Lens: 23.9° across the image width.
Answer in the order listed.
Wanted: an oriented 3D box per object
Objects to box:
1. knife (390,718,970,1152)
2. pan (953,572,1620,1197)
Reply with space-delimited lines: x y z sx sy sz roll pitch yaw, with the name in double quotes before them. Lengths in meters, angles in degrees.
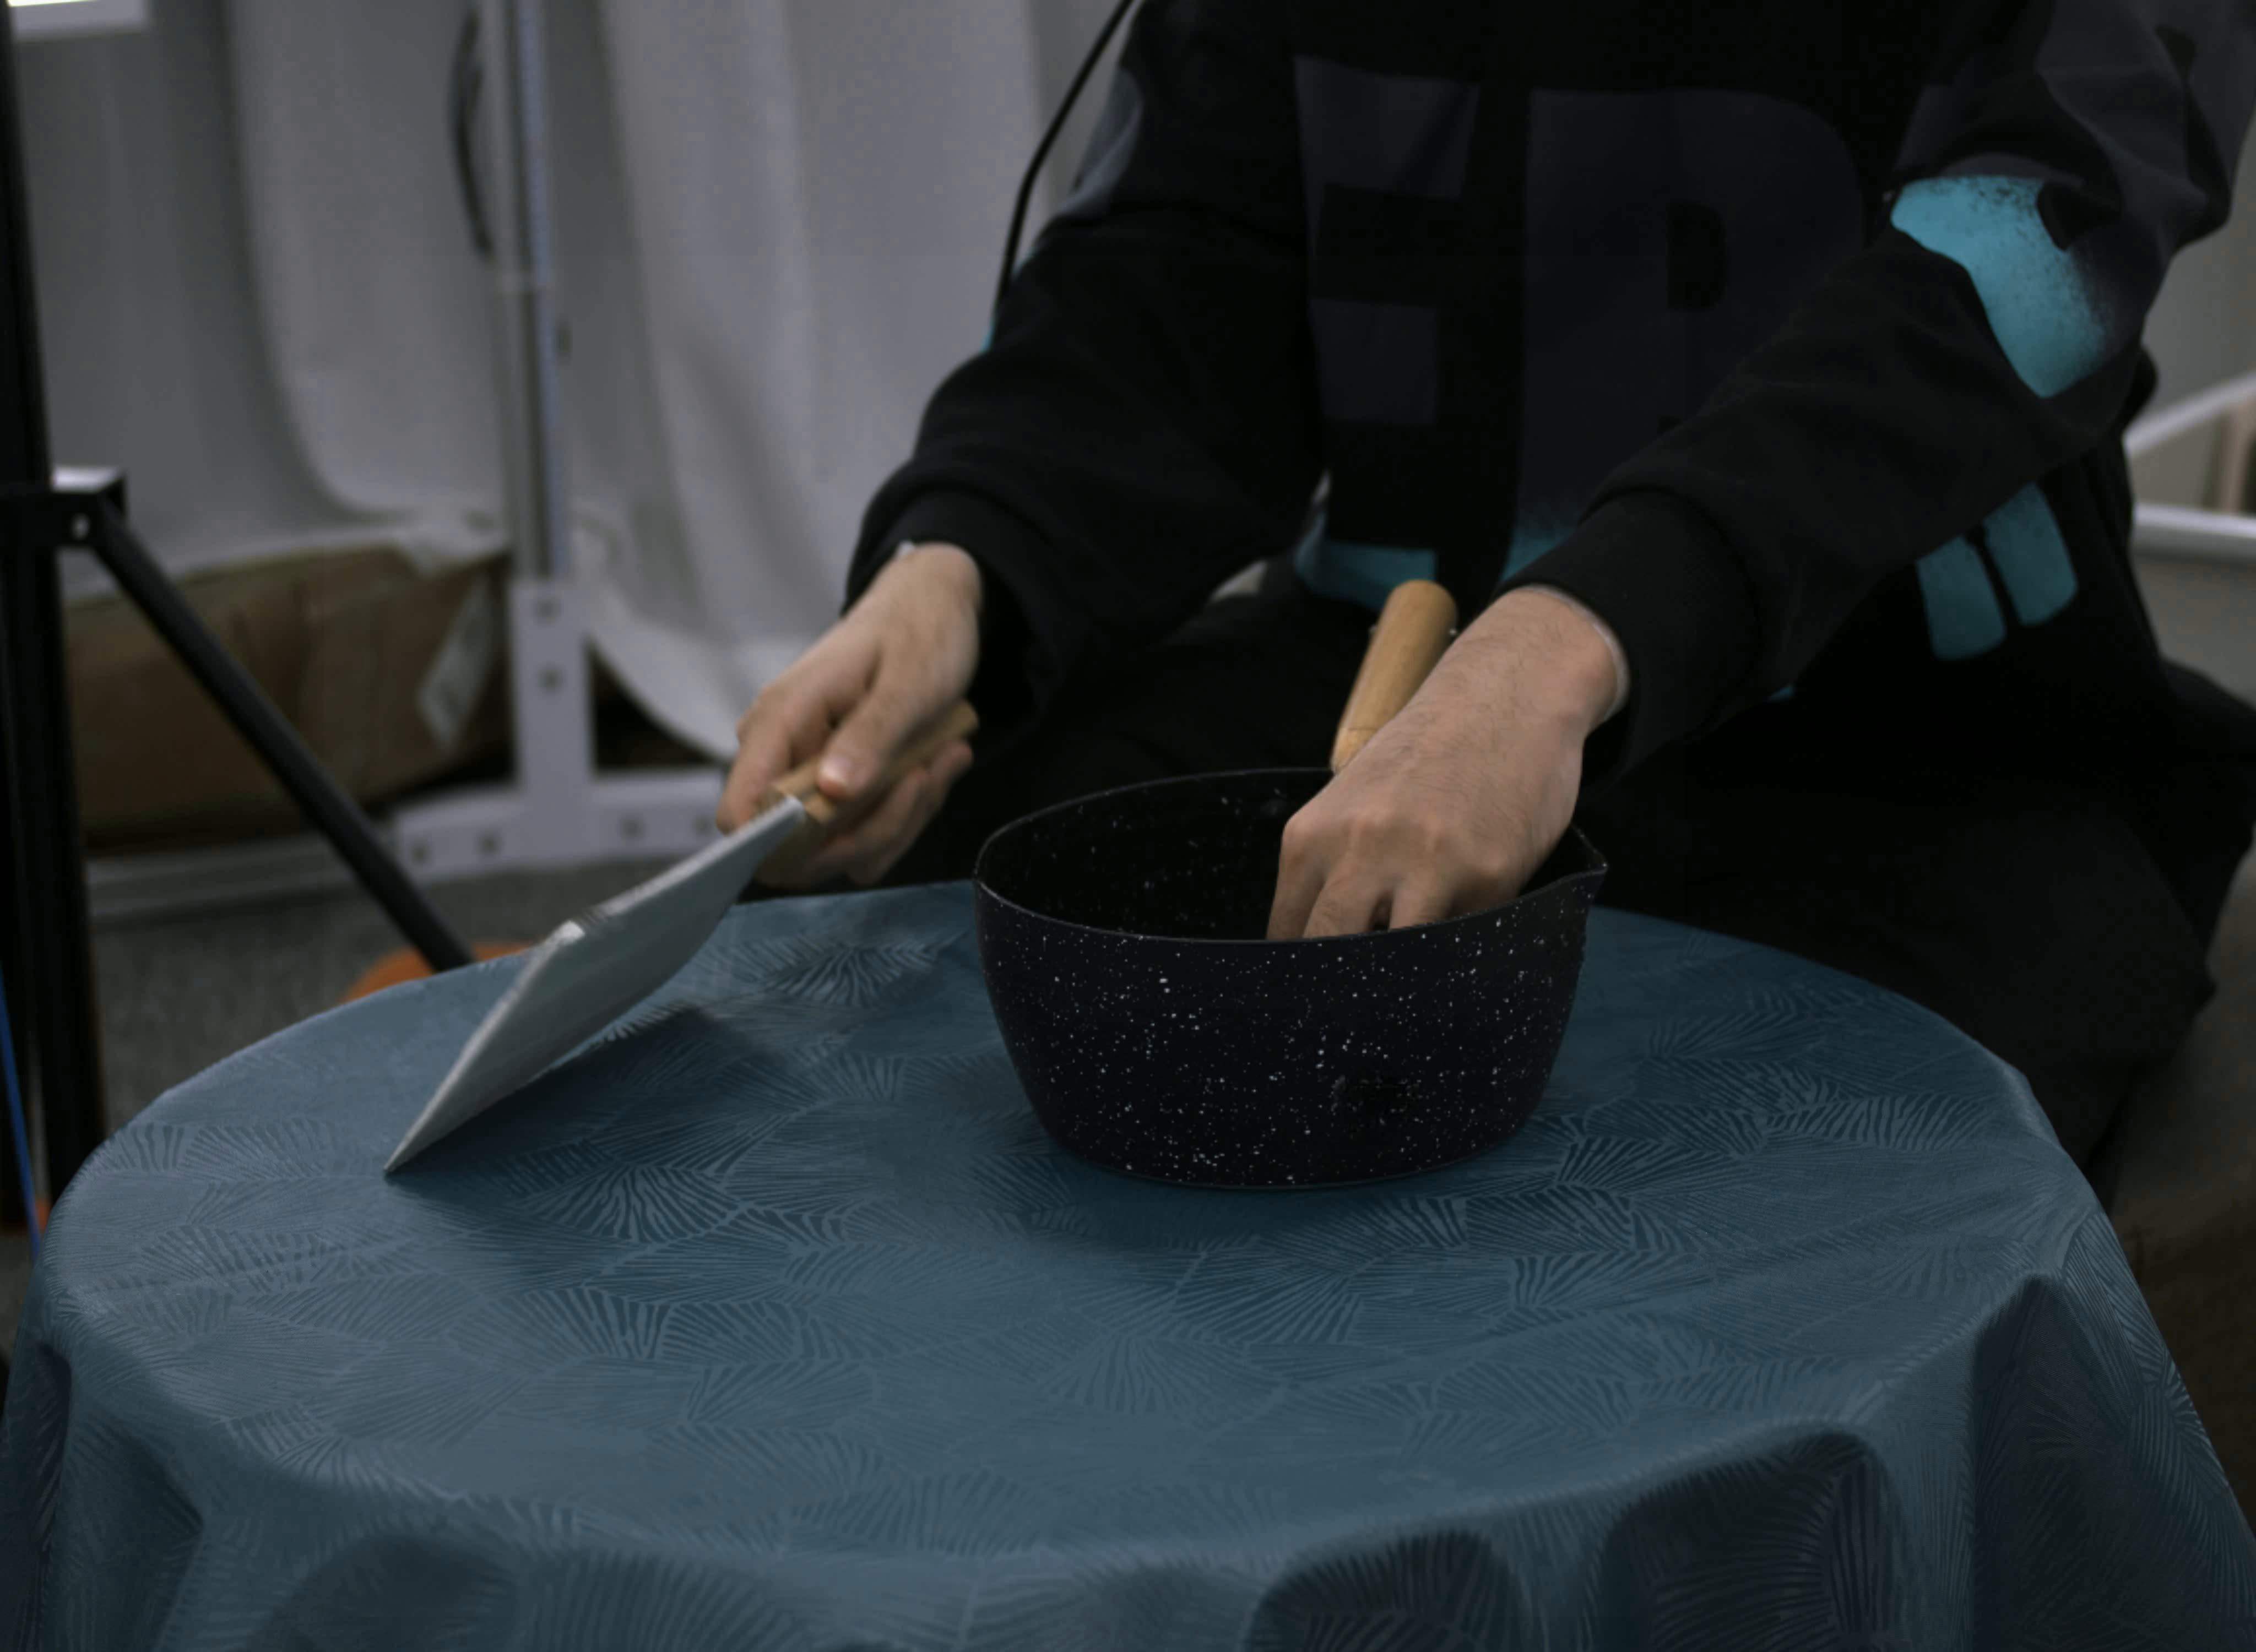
"knife" -0.132 0.025 1.712 0.022 0.115 0.311 45 32 5
"pan" 0.062 0.014 1.679 0.209 0.108 0.341 0 17 12
